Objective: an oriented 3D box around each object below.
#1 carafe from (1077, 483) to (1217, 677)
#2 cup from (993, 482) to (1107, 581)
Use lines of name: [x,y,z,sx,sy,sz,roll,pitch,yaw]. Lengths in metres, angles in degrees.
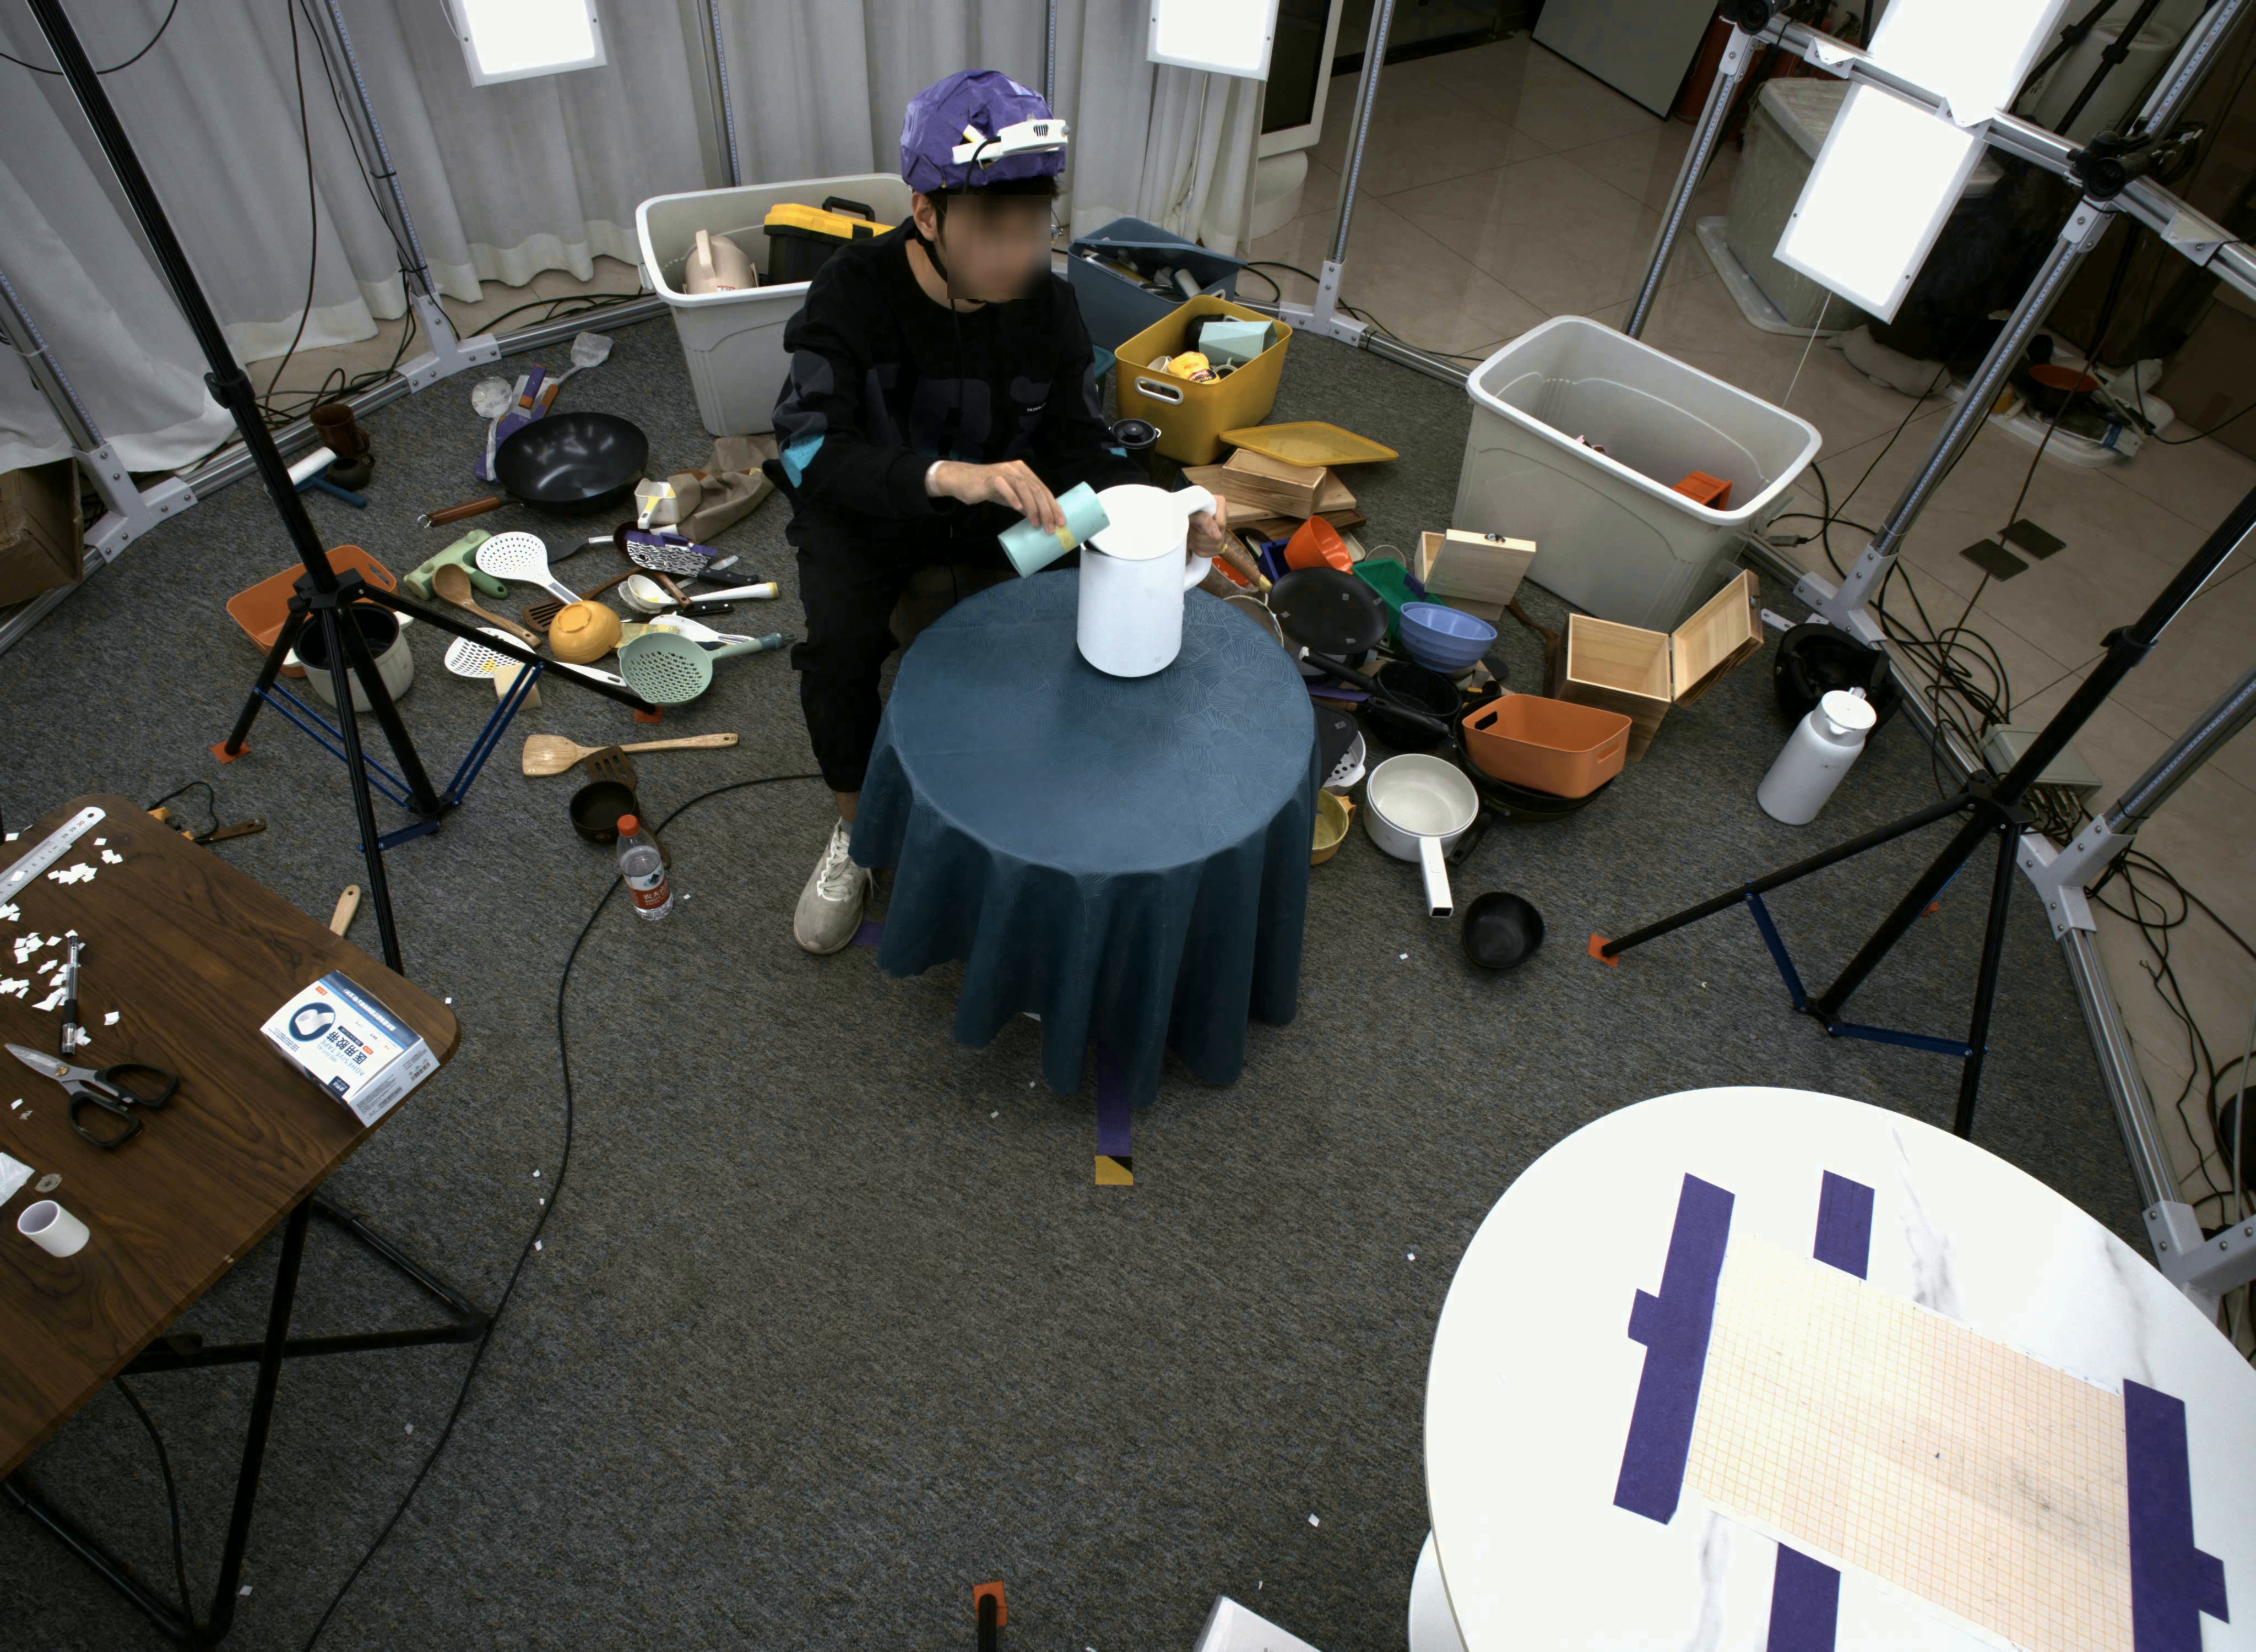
carafe: [0.028,-0.351,1.801,0.214,0.234,0.155,-28,61,-19]
cup: [-0.099,-0.373,1.632,0.132,0.065,0.068,-33,56,-2]
